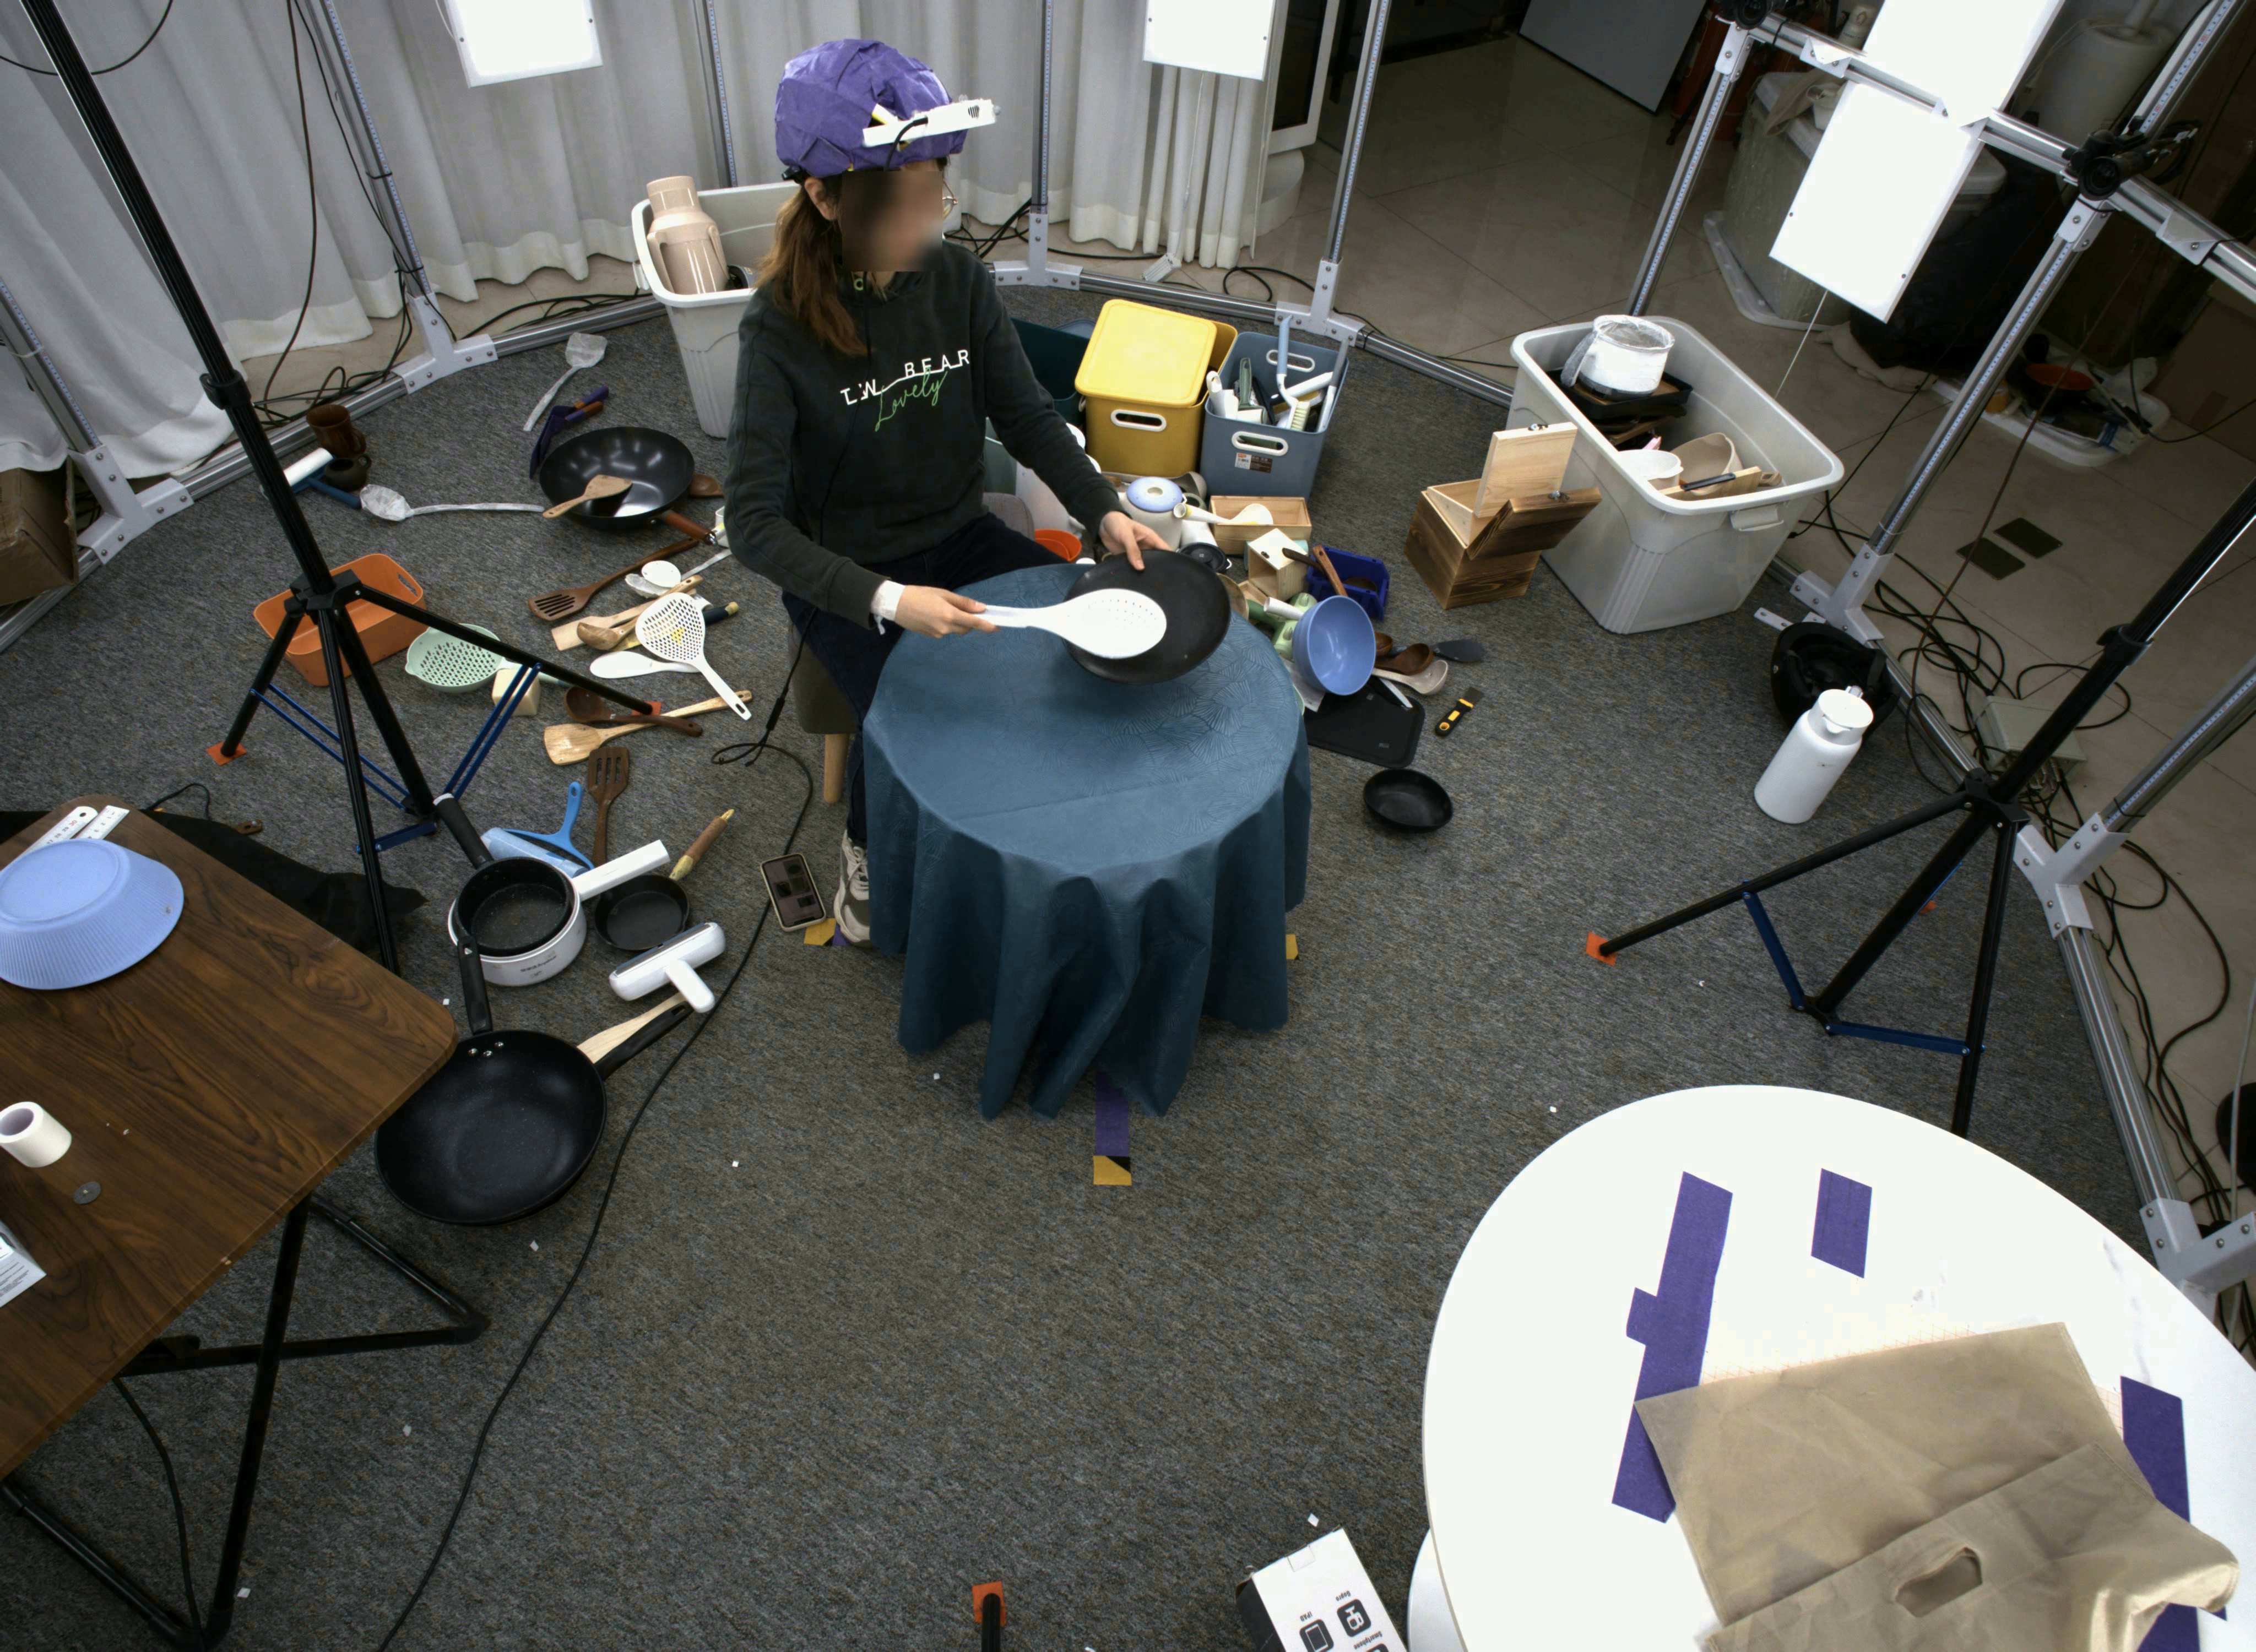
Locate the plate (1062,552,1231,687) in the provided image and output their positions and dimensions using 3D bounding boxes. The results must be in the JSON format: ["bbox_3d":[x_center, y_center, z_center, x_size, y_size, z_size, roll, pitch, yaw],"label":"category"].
[{"bbox_3d":[0.026,-0.293,1.830,0.244,0.023,0.250,-4,57,6],"label":"plate"}]

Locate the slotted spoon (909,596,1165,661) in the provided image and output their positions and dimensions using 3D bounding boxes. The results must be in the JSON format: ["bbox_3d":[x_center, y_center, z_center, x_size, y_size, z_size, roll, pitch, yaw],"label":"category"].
[{"bbox_3d":[-0.125,-0.279,1.763,0.349,0.044,0.139,9,45,-2],"label":"slotted spoon"}]
